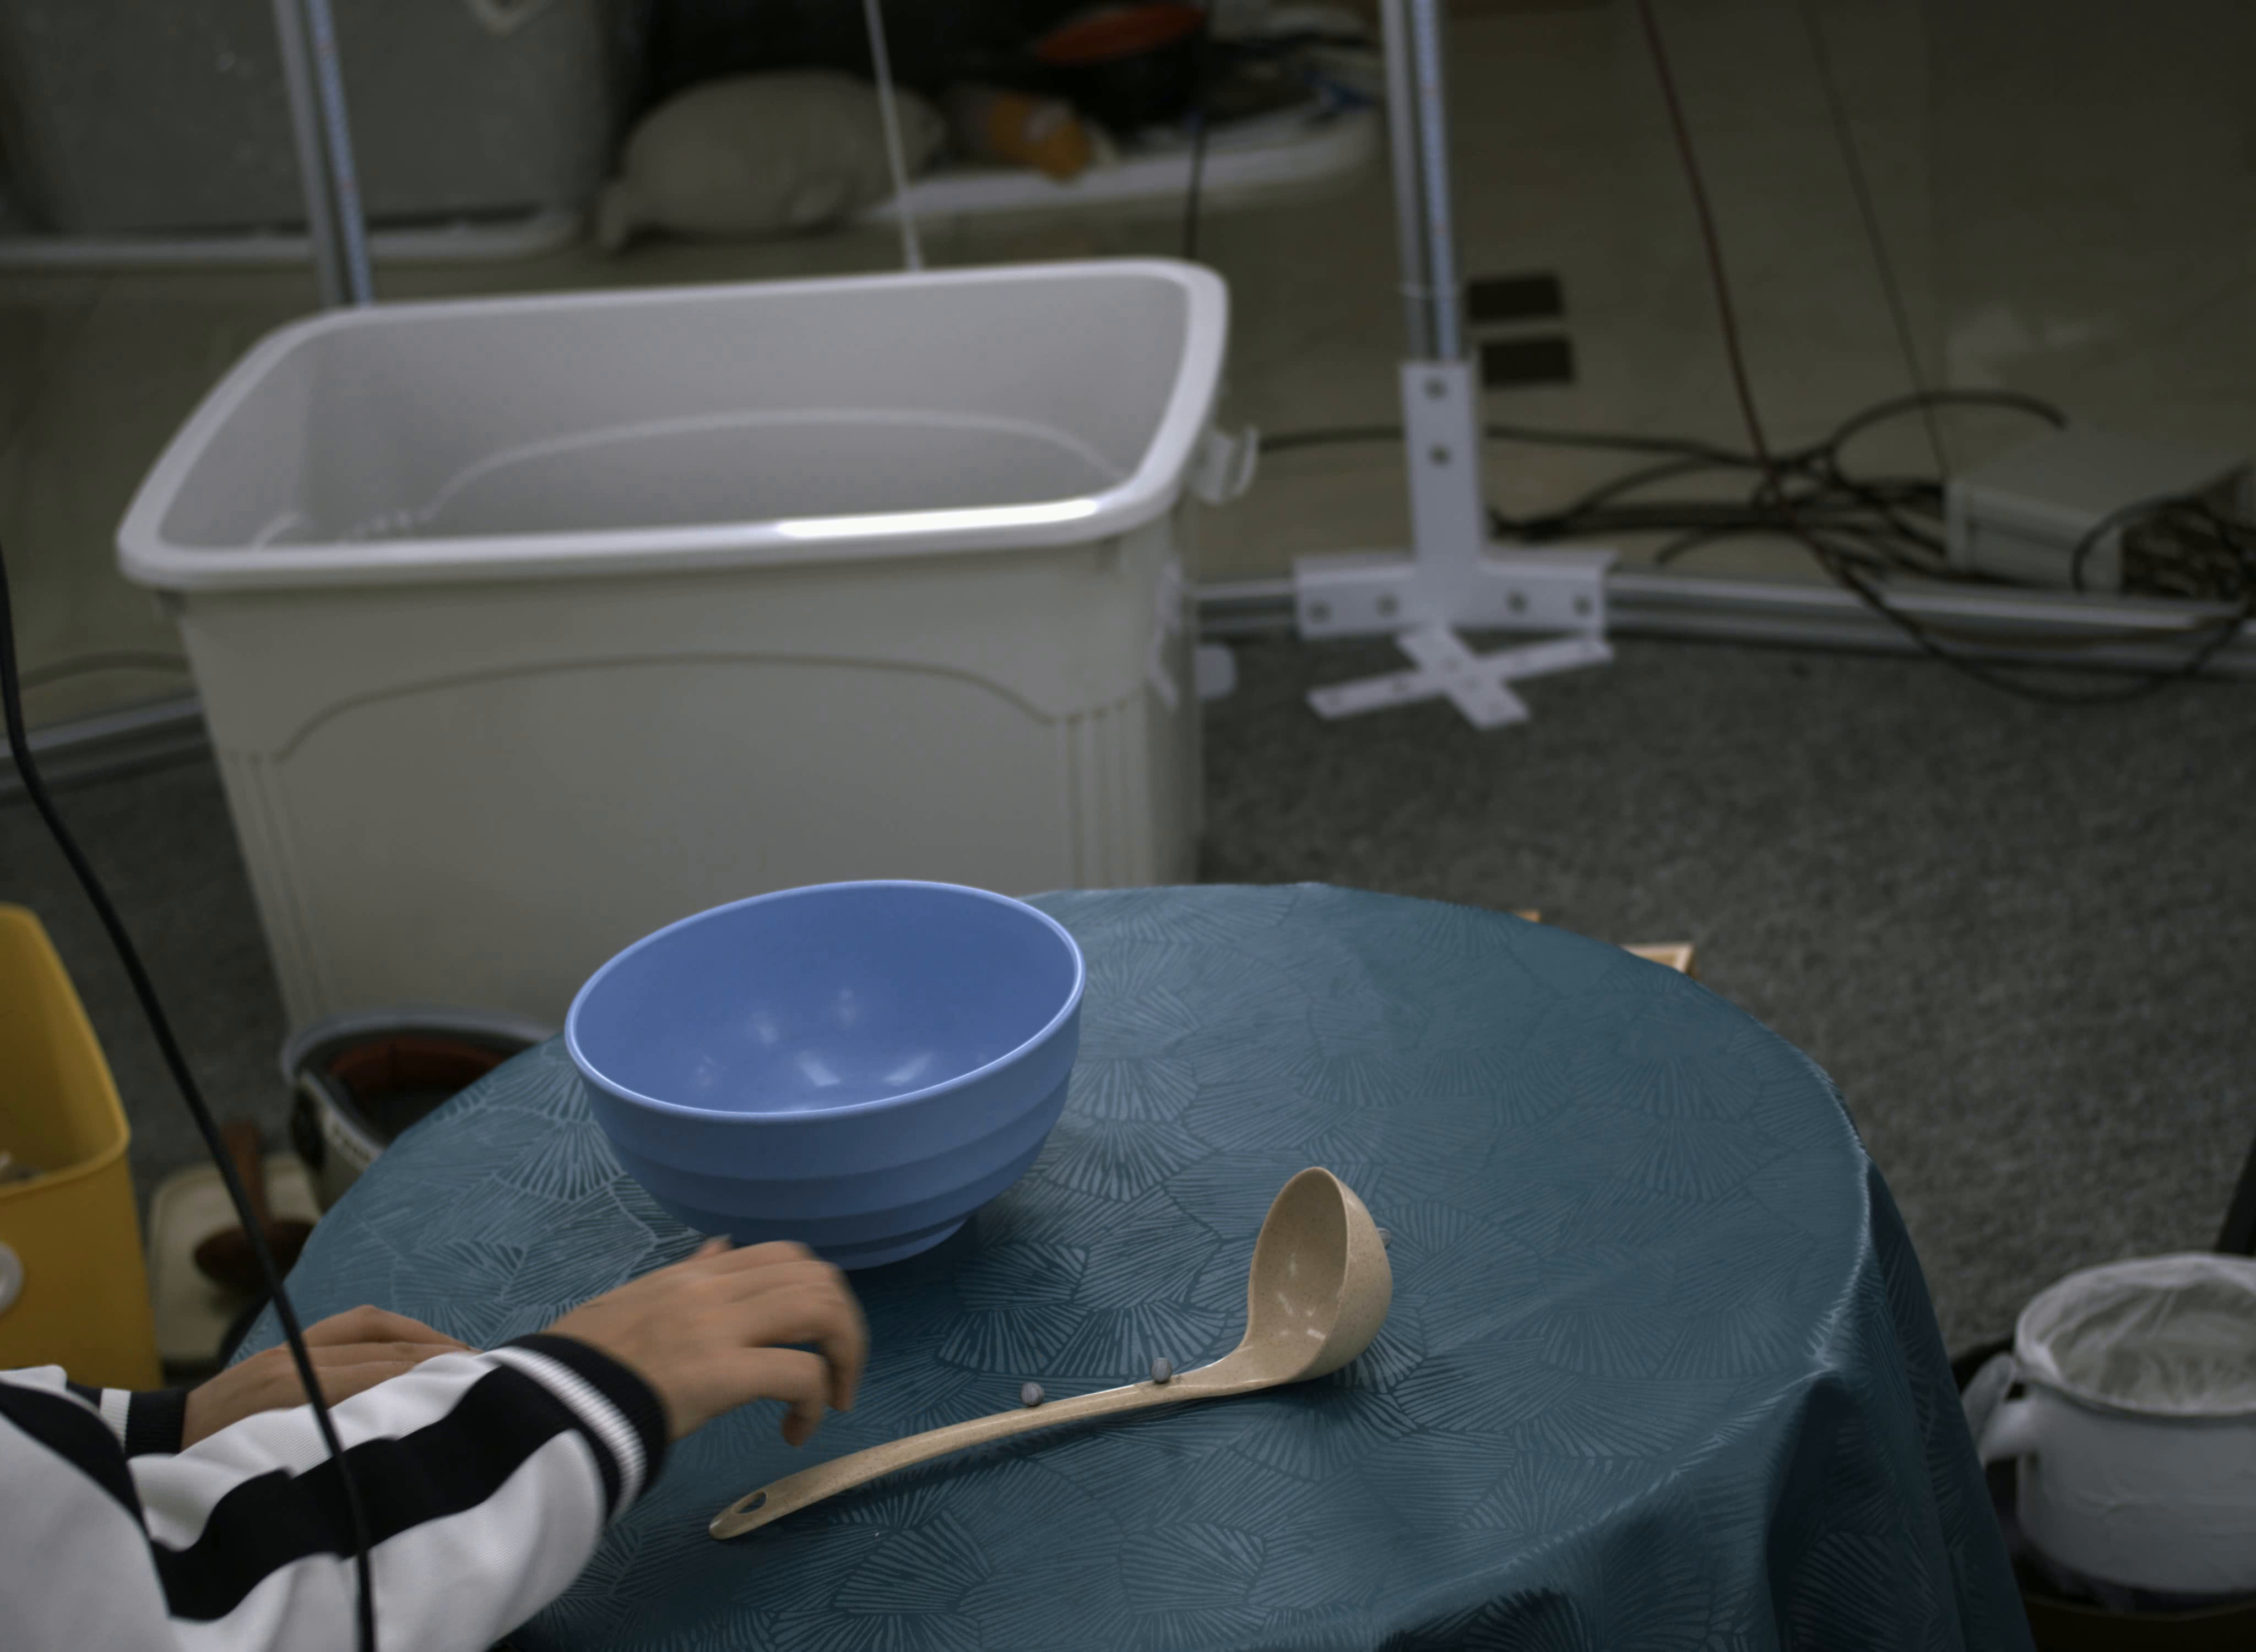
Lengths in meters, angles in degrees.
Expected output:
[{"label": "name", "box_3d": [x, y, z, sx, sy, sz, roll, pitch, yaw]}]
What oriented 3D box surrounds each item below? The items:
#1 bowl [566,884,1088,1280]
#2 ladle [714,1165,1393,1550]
[{"label": "bowl", "box_3d": [-0.108, 0.108, 2.137, 0.196, 0.097, 0.193, -5, 27, 2]}, {"label": "ladle", "box_3d": [-0.029, 0.183, 1.974, 0.253, 0.074, 0.071, -15, 26, -18]}]
